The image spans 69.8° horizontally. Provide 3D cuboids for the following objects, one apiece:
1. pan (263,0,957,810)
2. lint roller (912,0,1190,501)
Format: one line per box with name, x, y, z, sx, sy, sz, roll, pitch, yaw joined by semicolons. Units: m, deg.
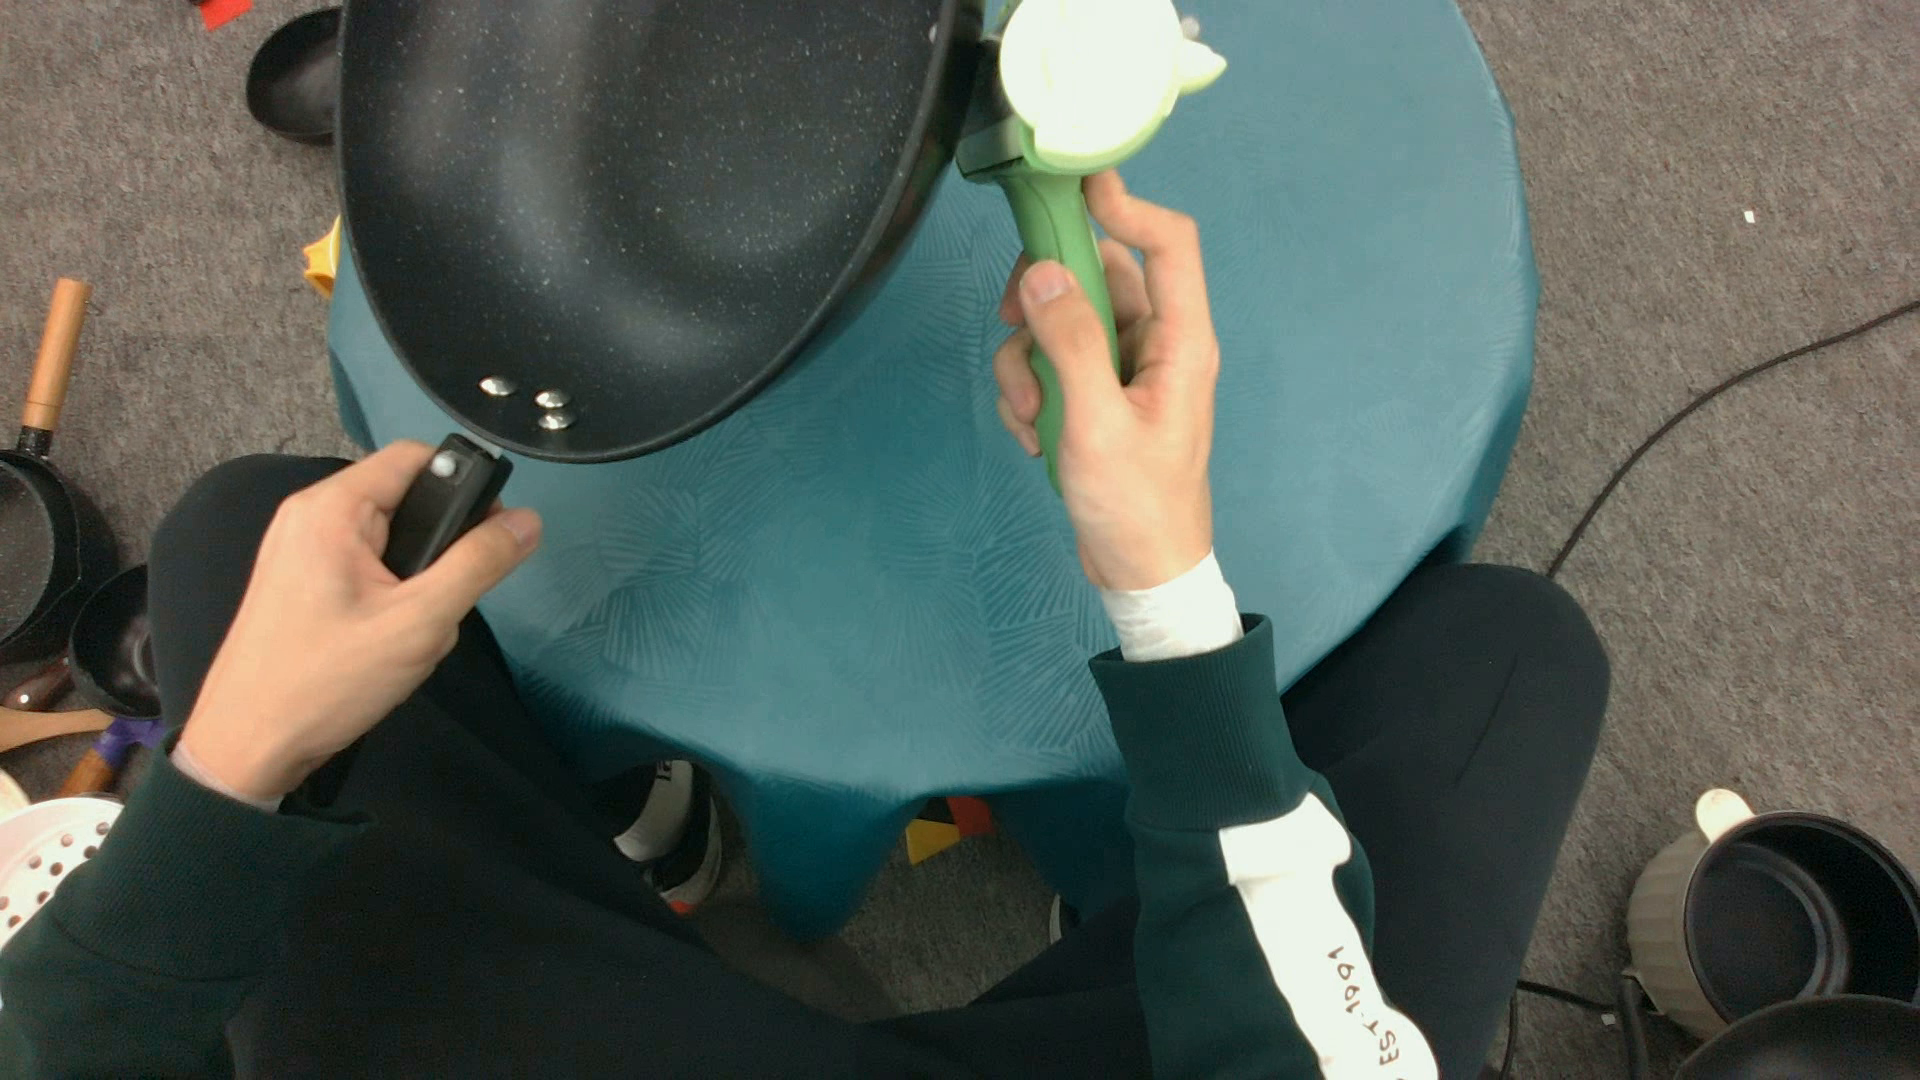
pan;-0.149;-0.115;0.517;0.310;0.112;0.475;28;105;31
lint roller;0.040;-0.110;0.495;0.082;0.199;0.183;-21;105;-4
